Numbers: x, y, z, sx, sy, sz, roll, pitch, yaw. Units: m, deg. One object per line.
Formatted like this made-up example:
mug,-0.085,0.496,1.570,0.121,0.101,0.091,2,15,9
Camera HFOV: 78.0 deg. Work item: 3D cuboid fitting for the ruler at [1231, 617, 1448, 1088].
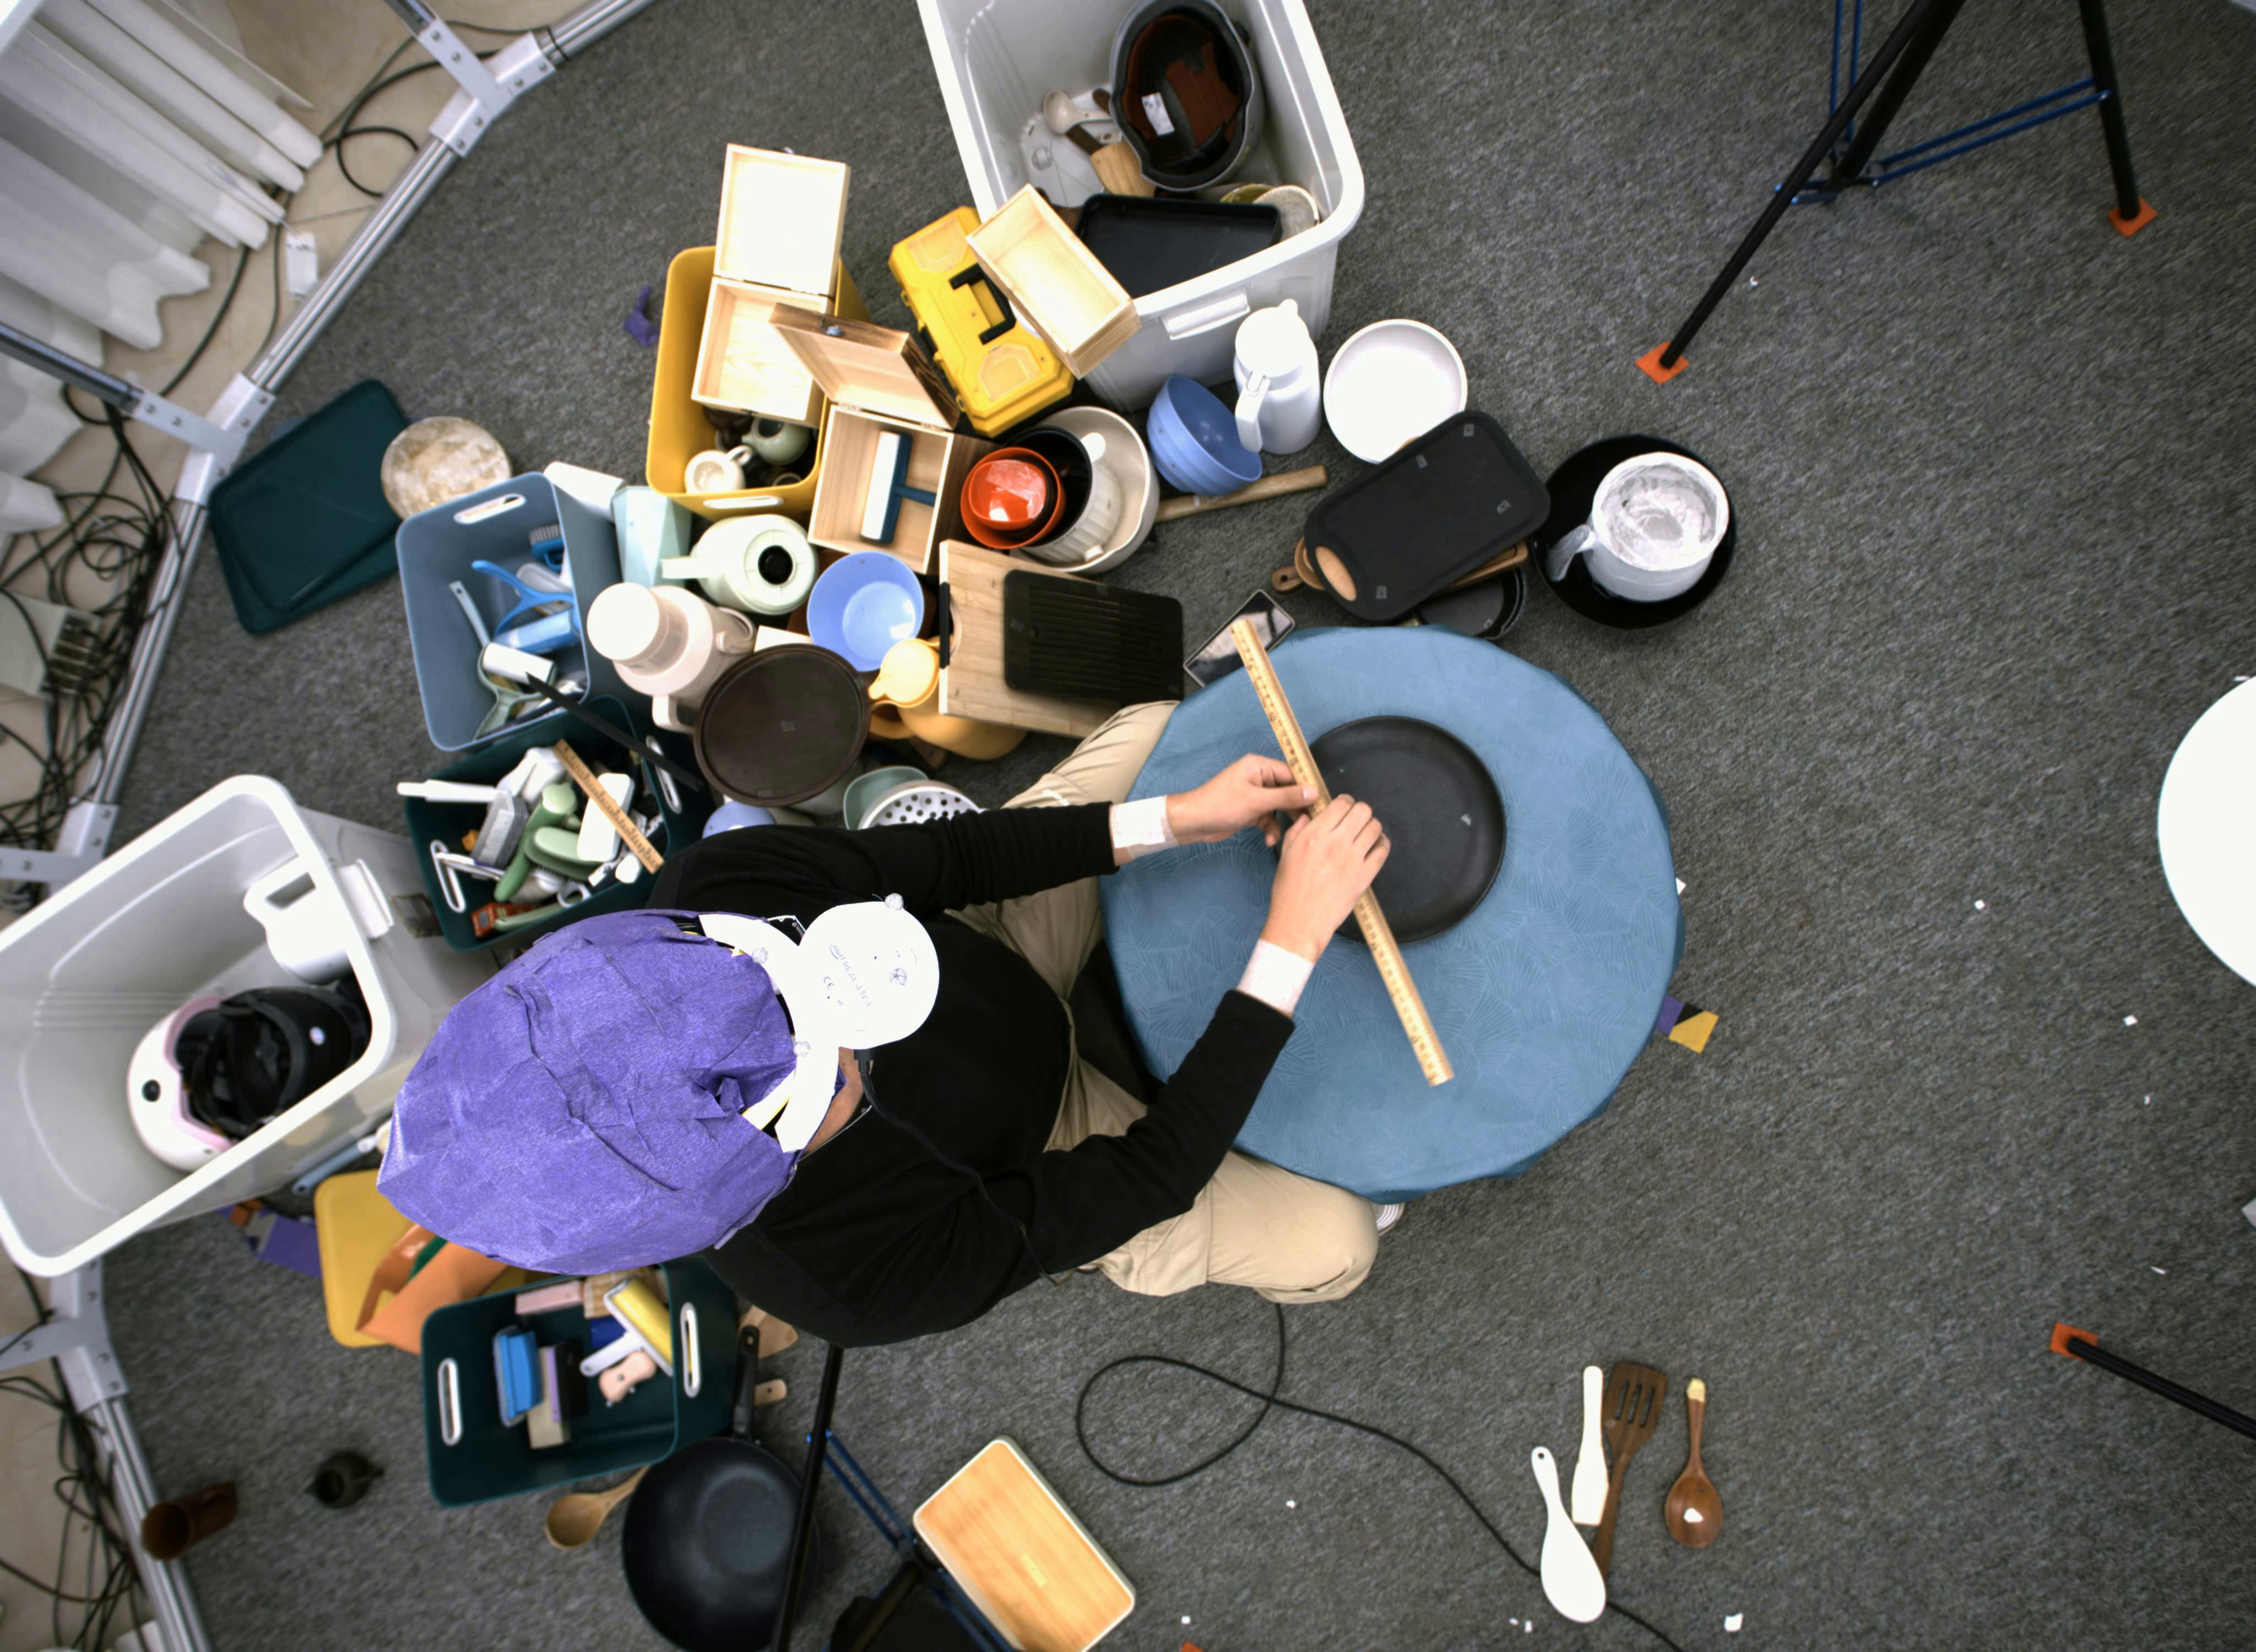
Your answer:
ruler,0.209,0.026,1.371,0.027,0.006,0.500,-23,91,20

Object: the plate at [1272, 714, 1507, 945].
plate,0.274,0.003,1.451,0.245,0.023,0.243,-1,87,11
